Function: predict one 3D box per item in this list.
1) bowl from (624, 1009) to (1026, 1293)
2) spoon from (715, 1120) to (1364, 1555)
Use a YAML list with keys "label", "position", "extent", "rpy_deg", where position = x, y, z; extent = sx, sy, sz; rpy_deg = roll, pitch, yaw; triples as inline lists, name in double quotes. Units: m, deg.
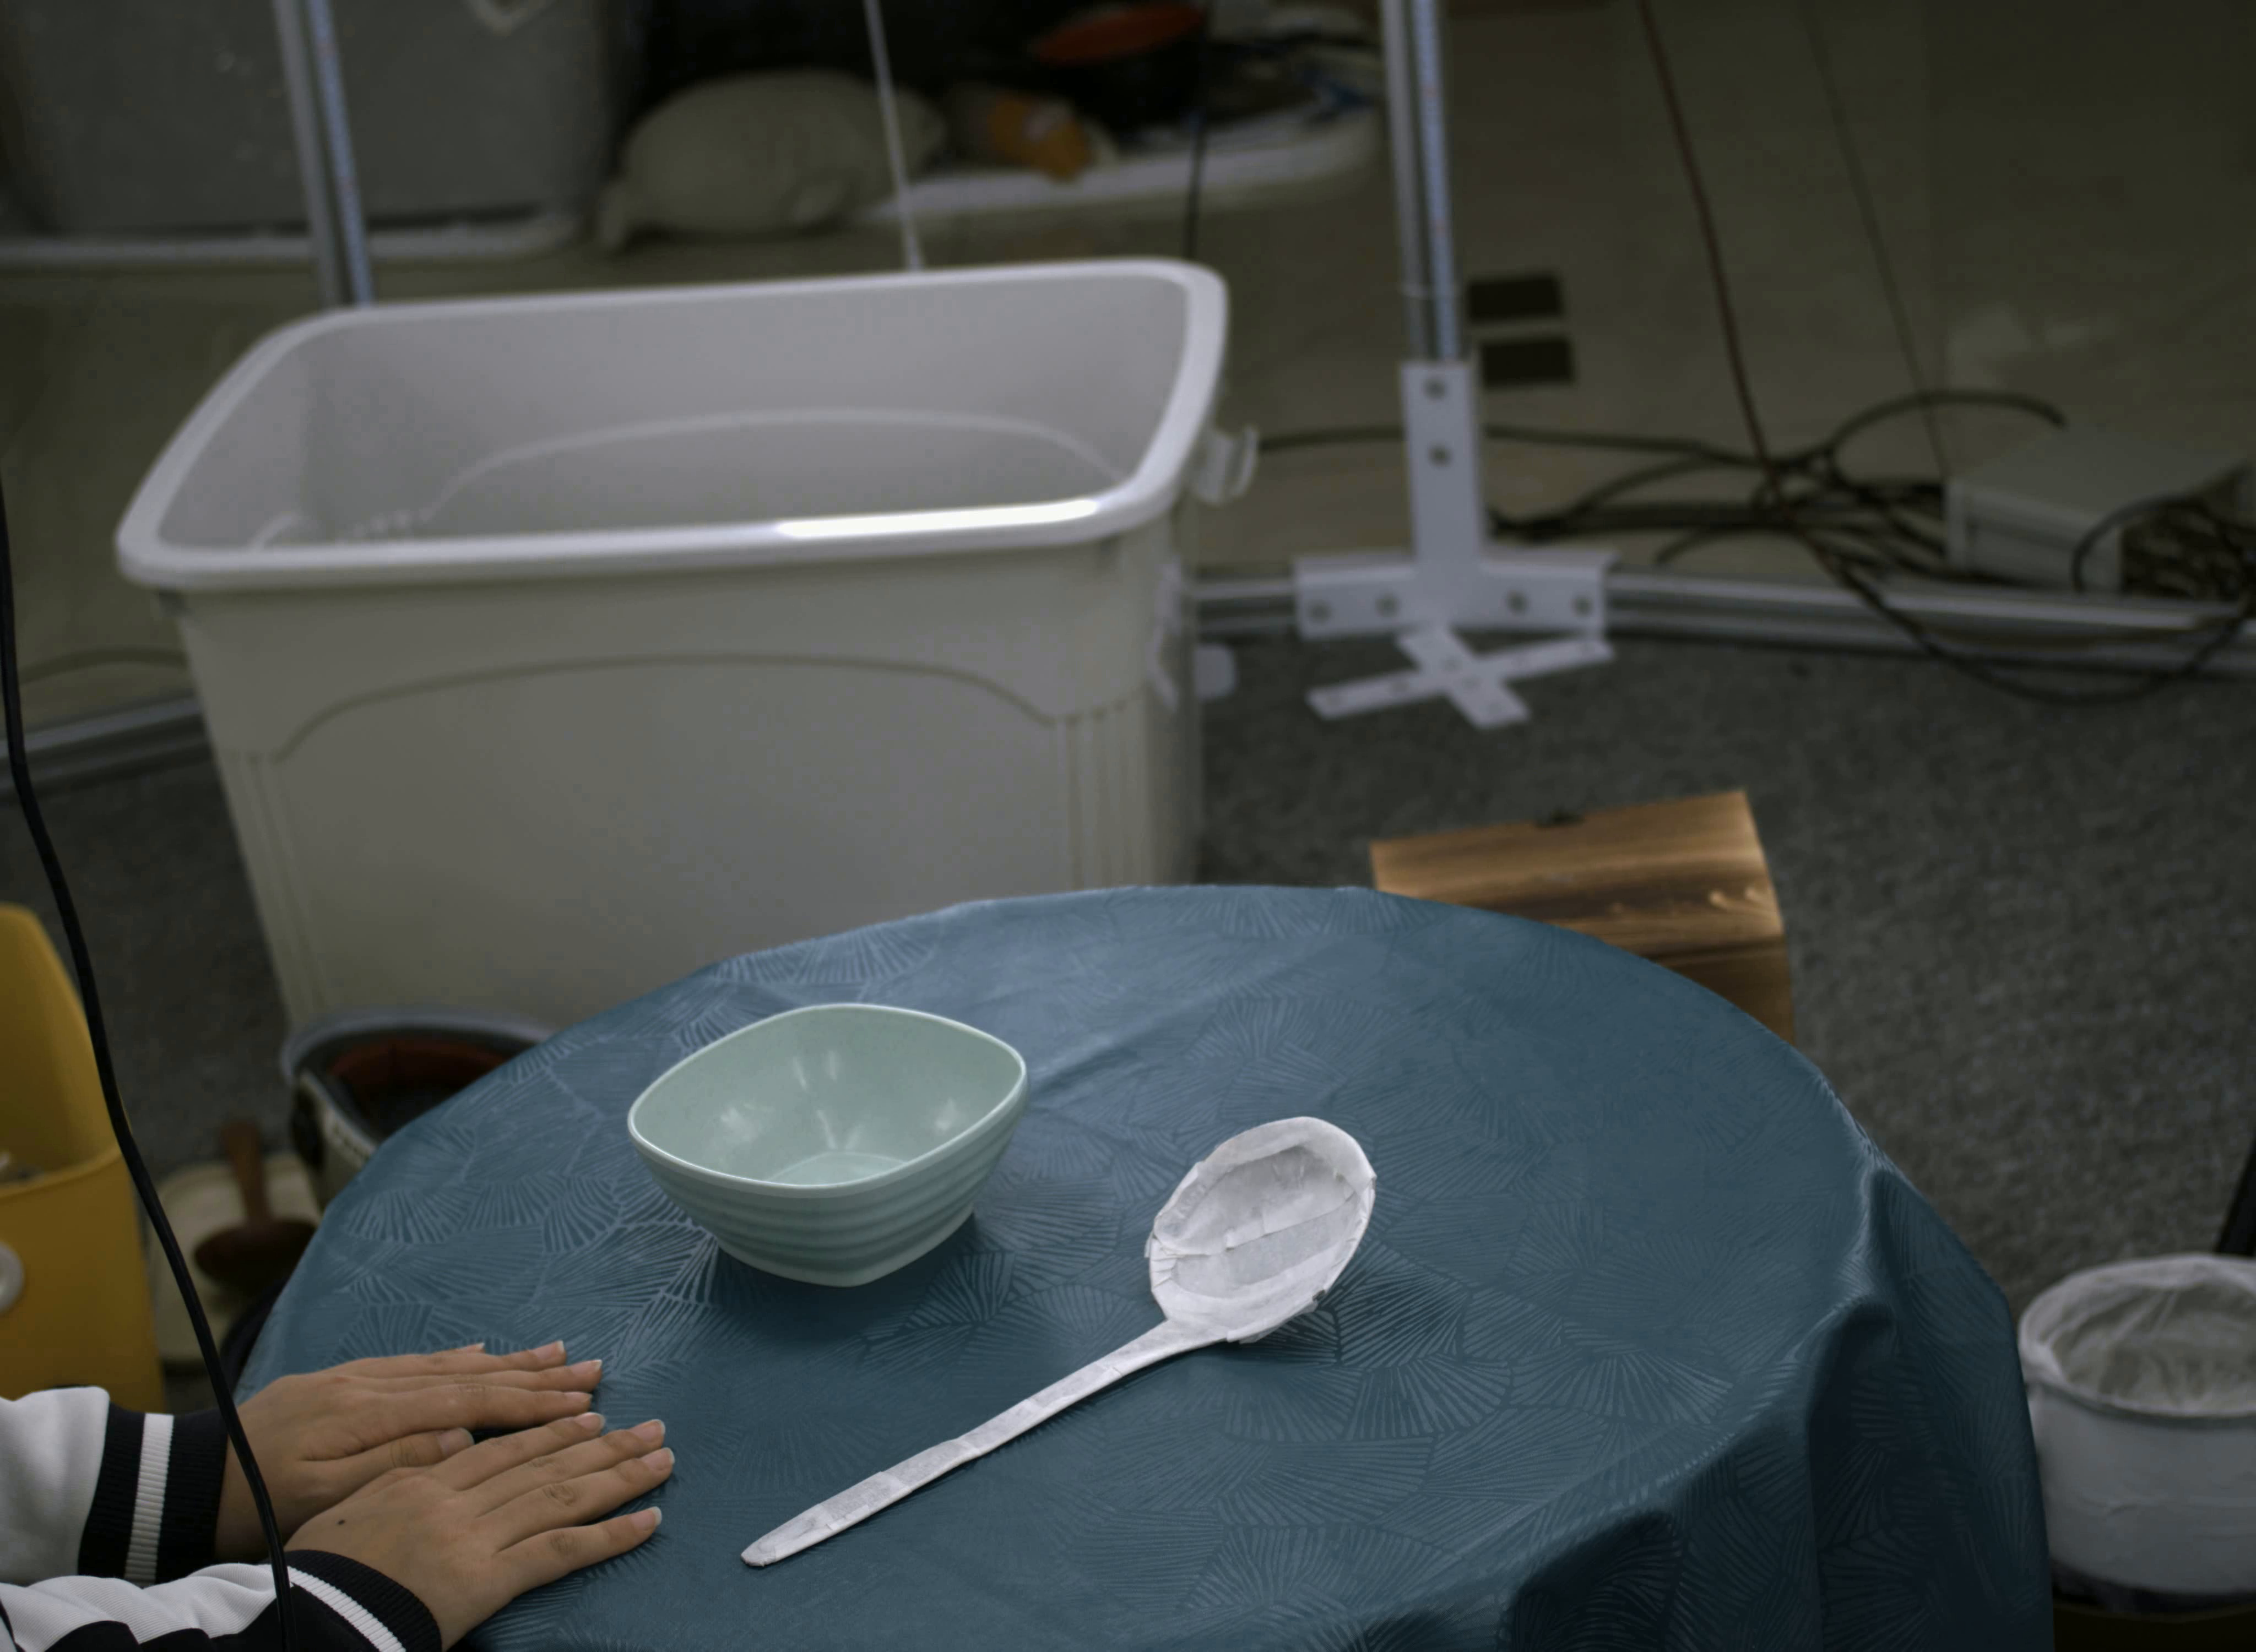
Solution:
- label: "bowl"
  position: [-0.111, 0.128, 2.136]
  extent: [0.151, 0.059, 0.149]
  rpy_deg: [-5, 25, 2]
- label: "spoon"
  position: [-0.035, 0.178, 2.006]
  extent: [0.275, 0.060, 0.100]
  rpy_deg: [-22, 24, -30]
